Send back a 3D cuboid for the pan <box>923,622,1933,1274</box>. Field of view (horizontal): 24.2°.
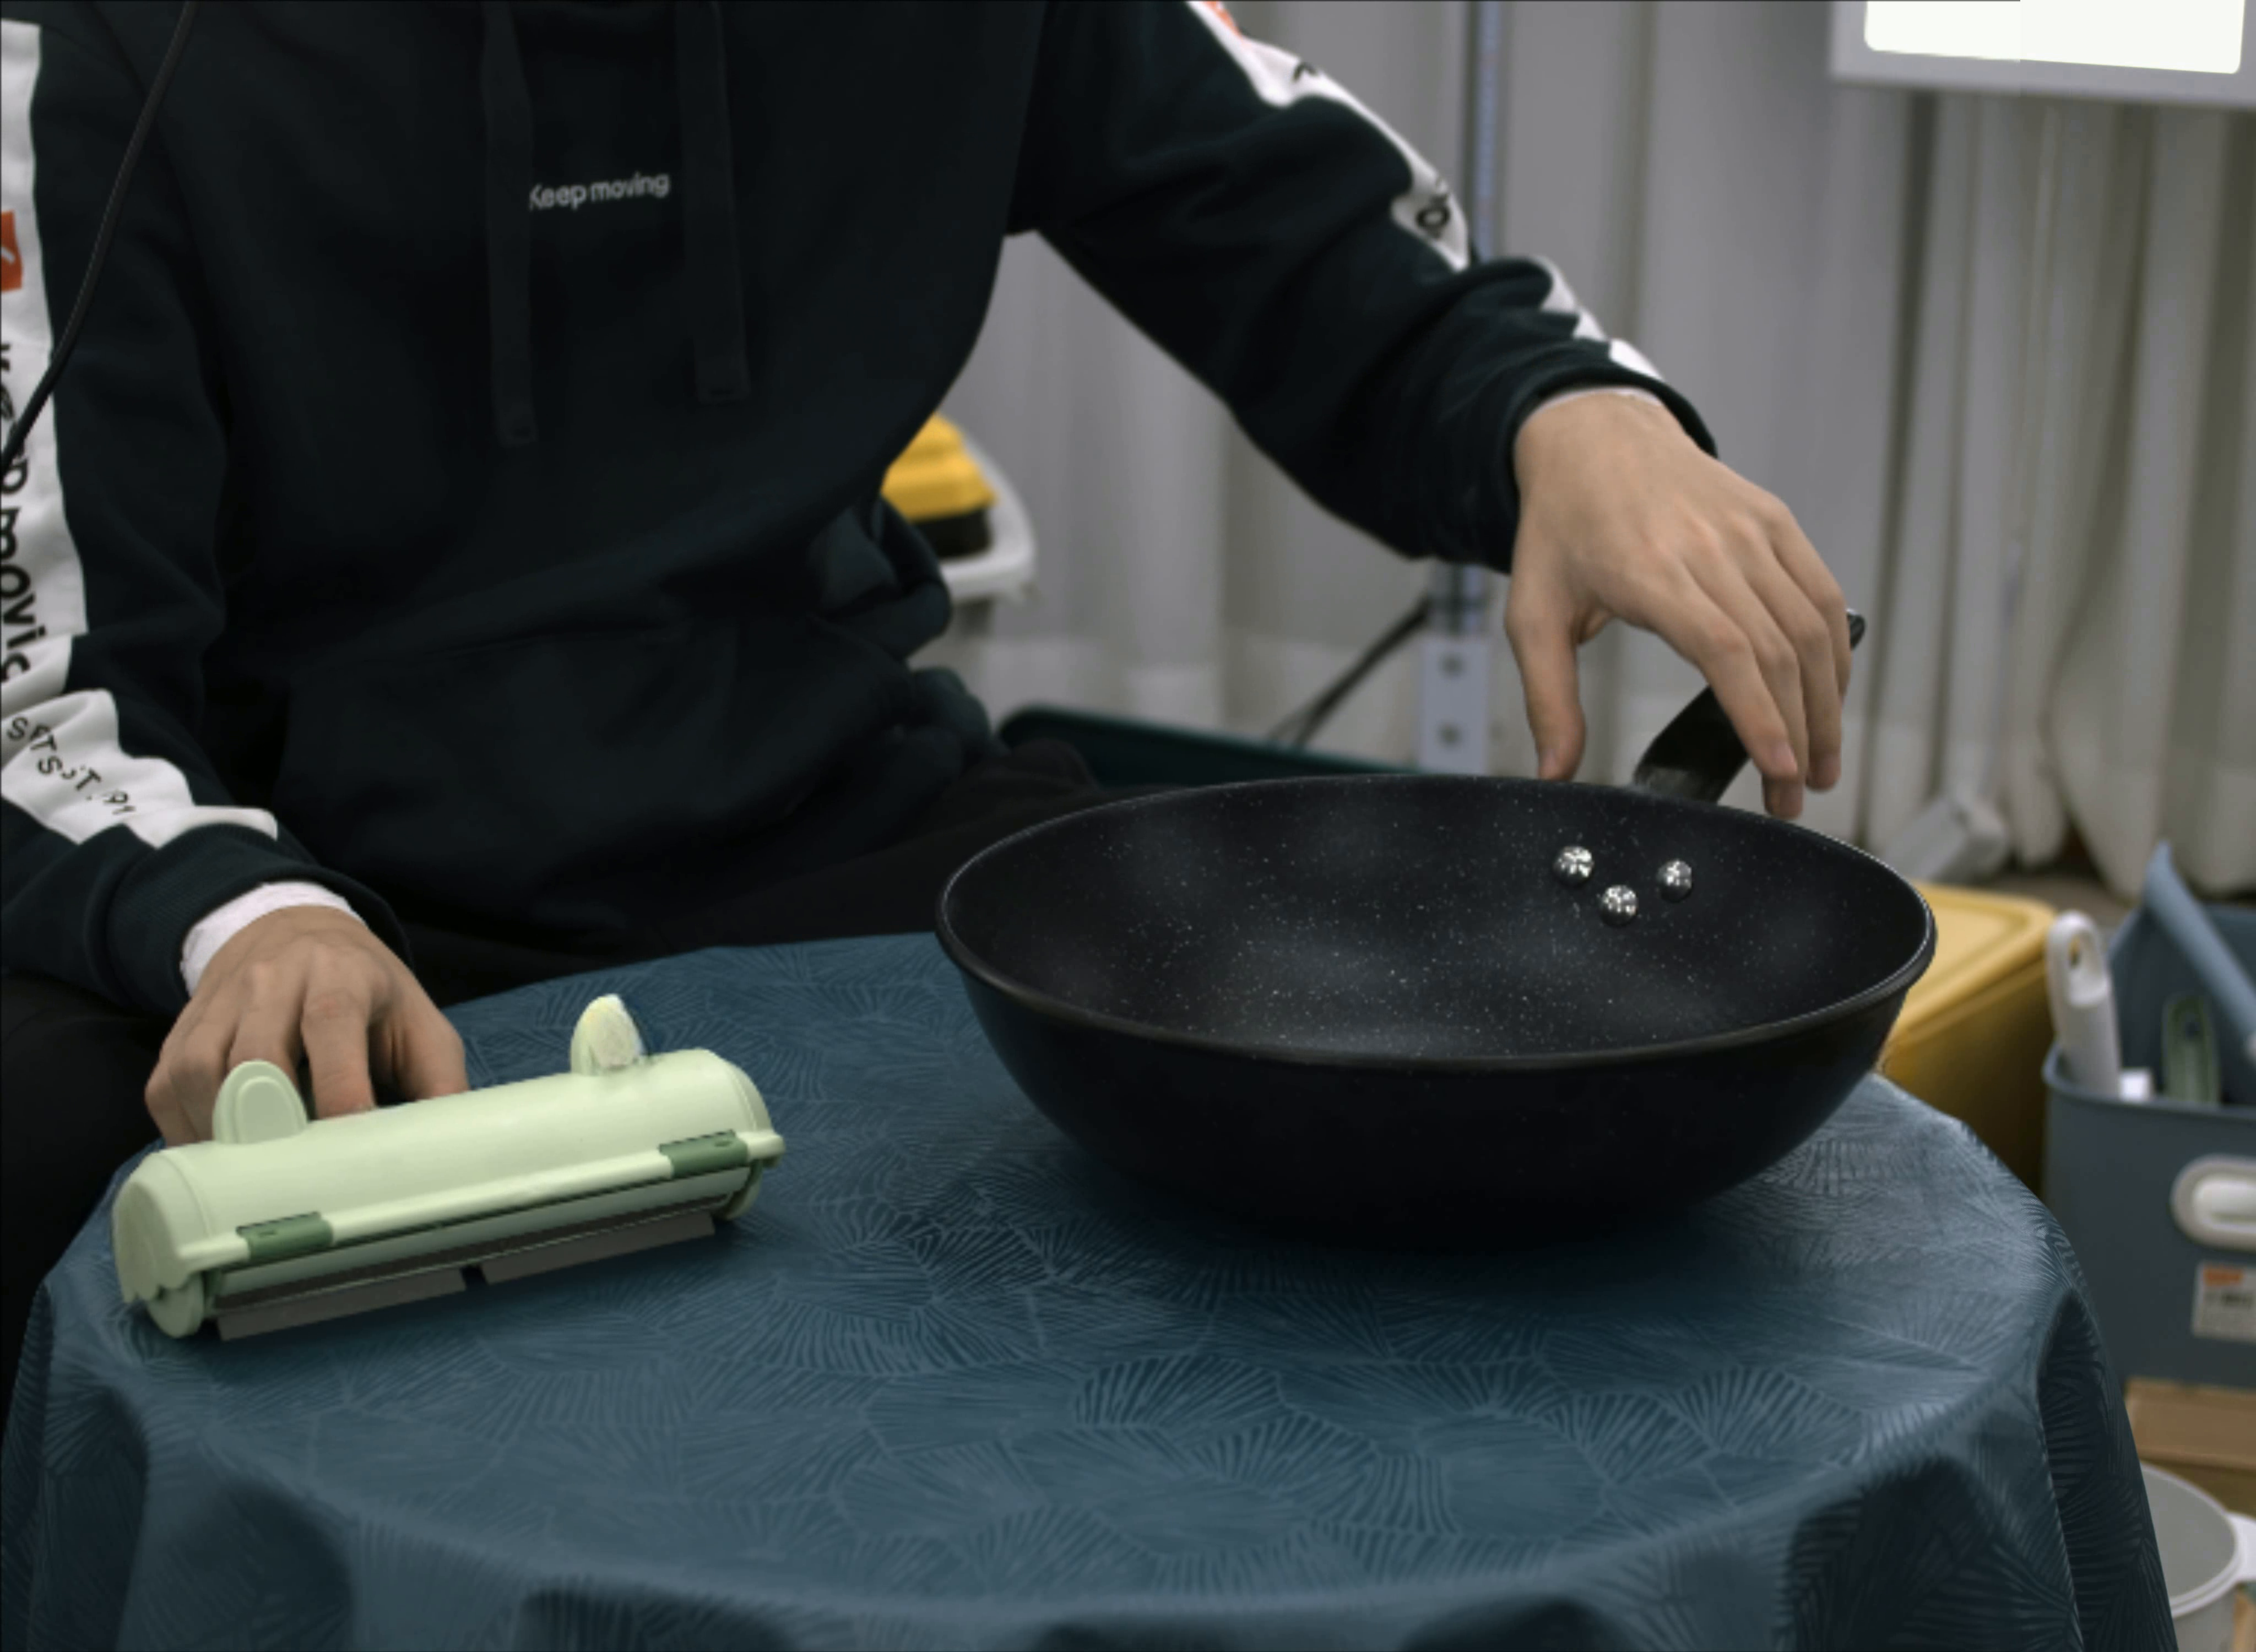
[{"bbox_3d":[0.132,0.037,1.695,0.306,0.112,0.478,10,19,27],"label":"pan"}]

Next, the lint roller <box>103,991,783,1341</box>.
[{"bbox_3d":[-0.229,0.083,1.578,0.199,0.083,0.181,-10,24,-32],"label":"lint roller"}]
